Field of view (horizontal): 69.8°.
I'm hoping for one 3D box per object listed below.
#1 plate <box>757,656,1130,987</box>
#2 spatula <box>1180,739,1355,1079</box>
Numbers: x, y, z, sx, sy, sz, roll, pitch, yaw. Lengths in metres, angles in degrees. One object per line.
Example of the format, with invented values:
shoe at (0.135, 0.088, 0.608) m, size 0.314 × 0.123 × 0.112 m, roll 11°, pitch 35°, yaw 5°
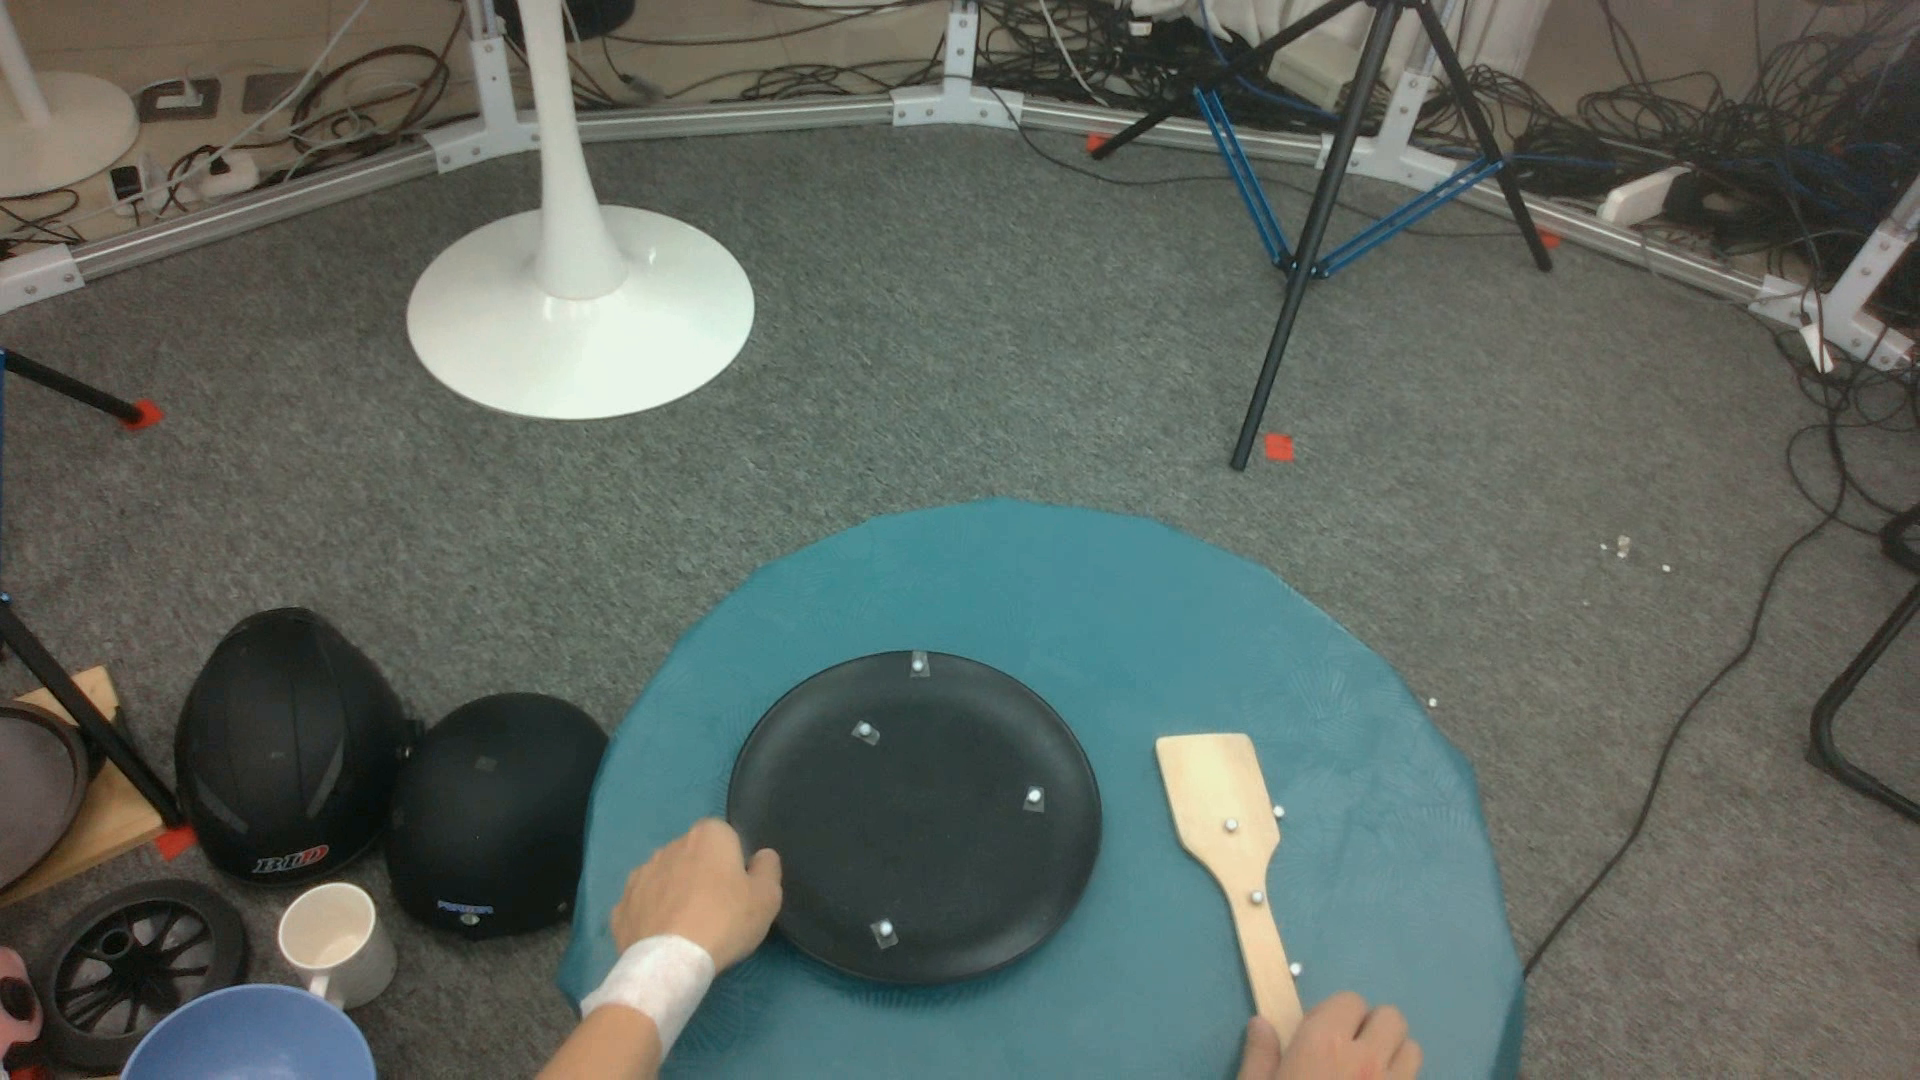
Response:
plate at (-0.010, 0.180, 0.906) m, size 0.244 × 0.023 × 0.245 m, roll 3°, pitch 48°, yaw -3°
spatula at (0.207, 0.251, 0.873) m, size 0.072 × 0.010 × 0.294 m, roll -2°, pitch 48°, yaw -9°
